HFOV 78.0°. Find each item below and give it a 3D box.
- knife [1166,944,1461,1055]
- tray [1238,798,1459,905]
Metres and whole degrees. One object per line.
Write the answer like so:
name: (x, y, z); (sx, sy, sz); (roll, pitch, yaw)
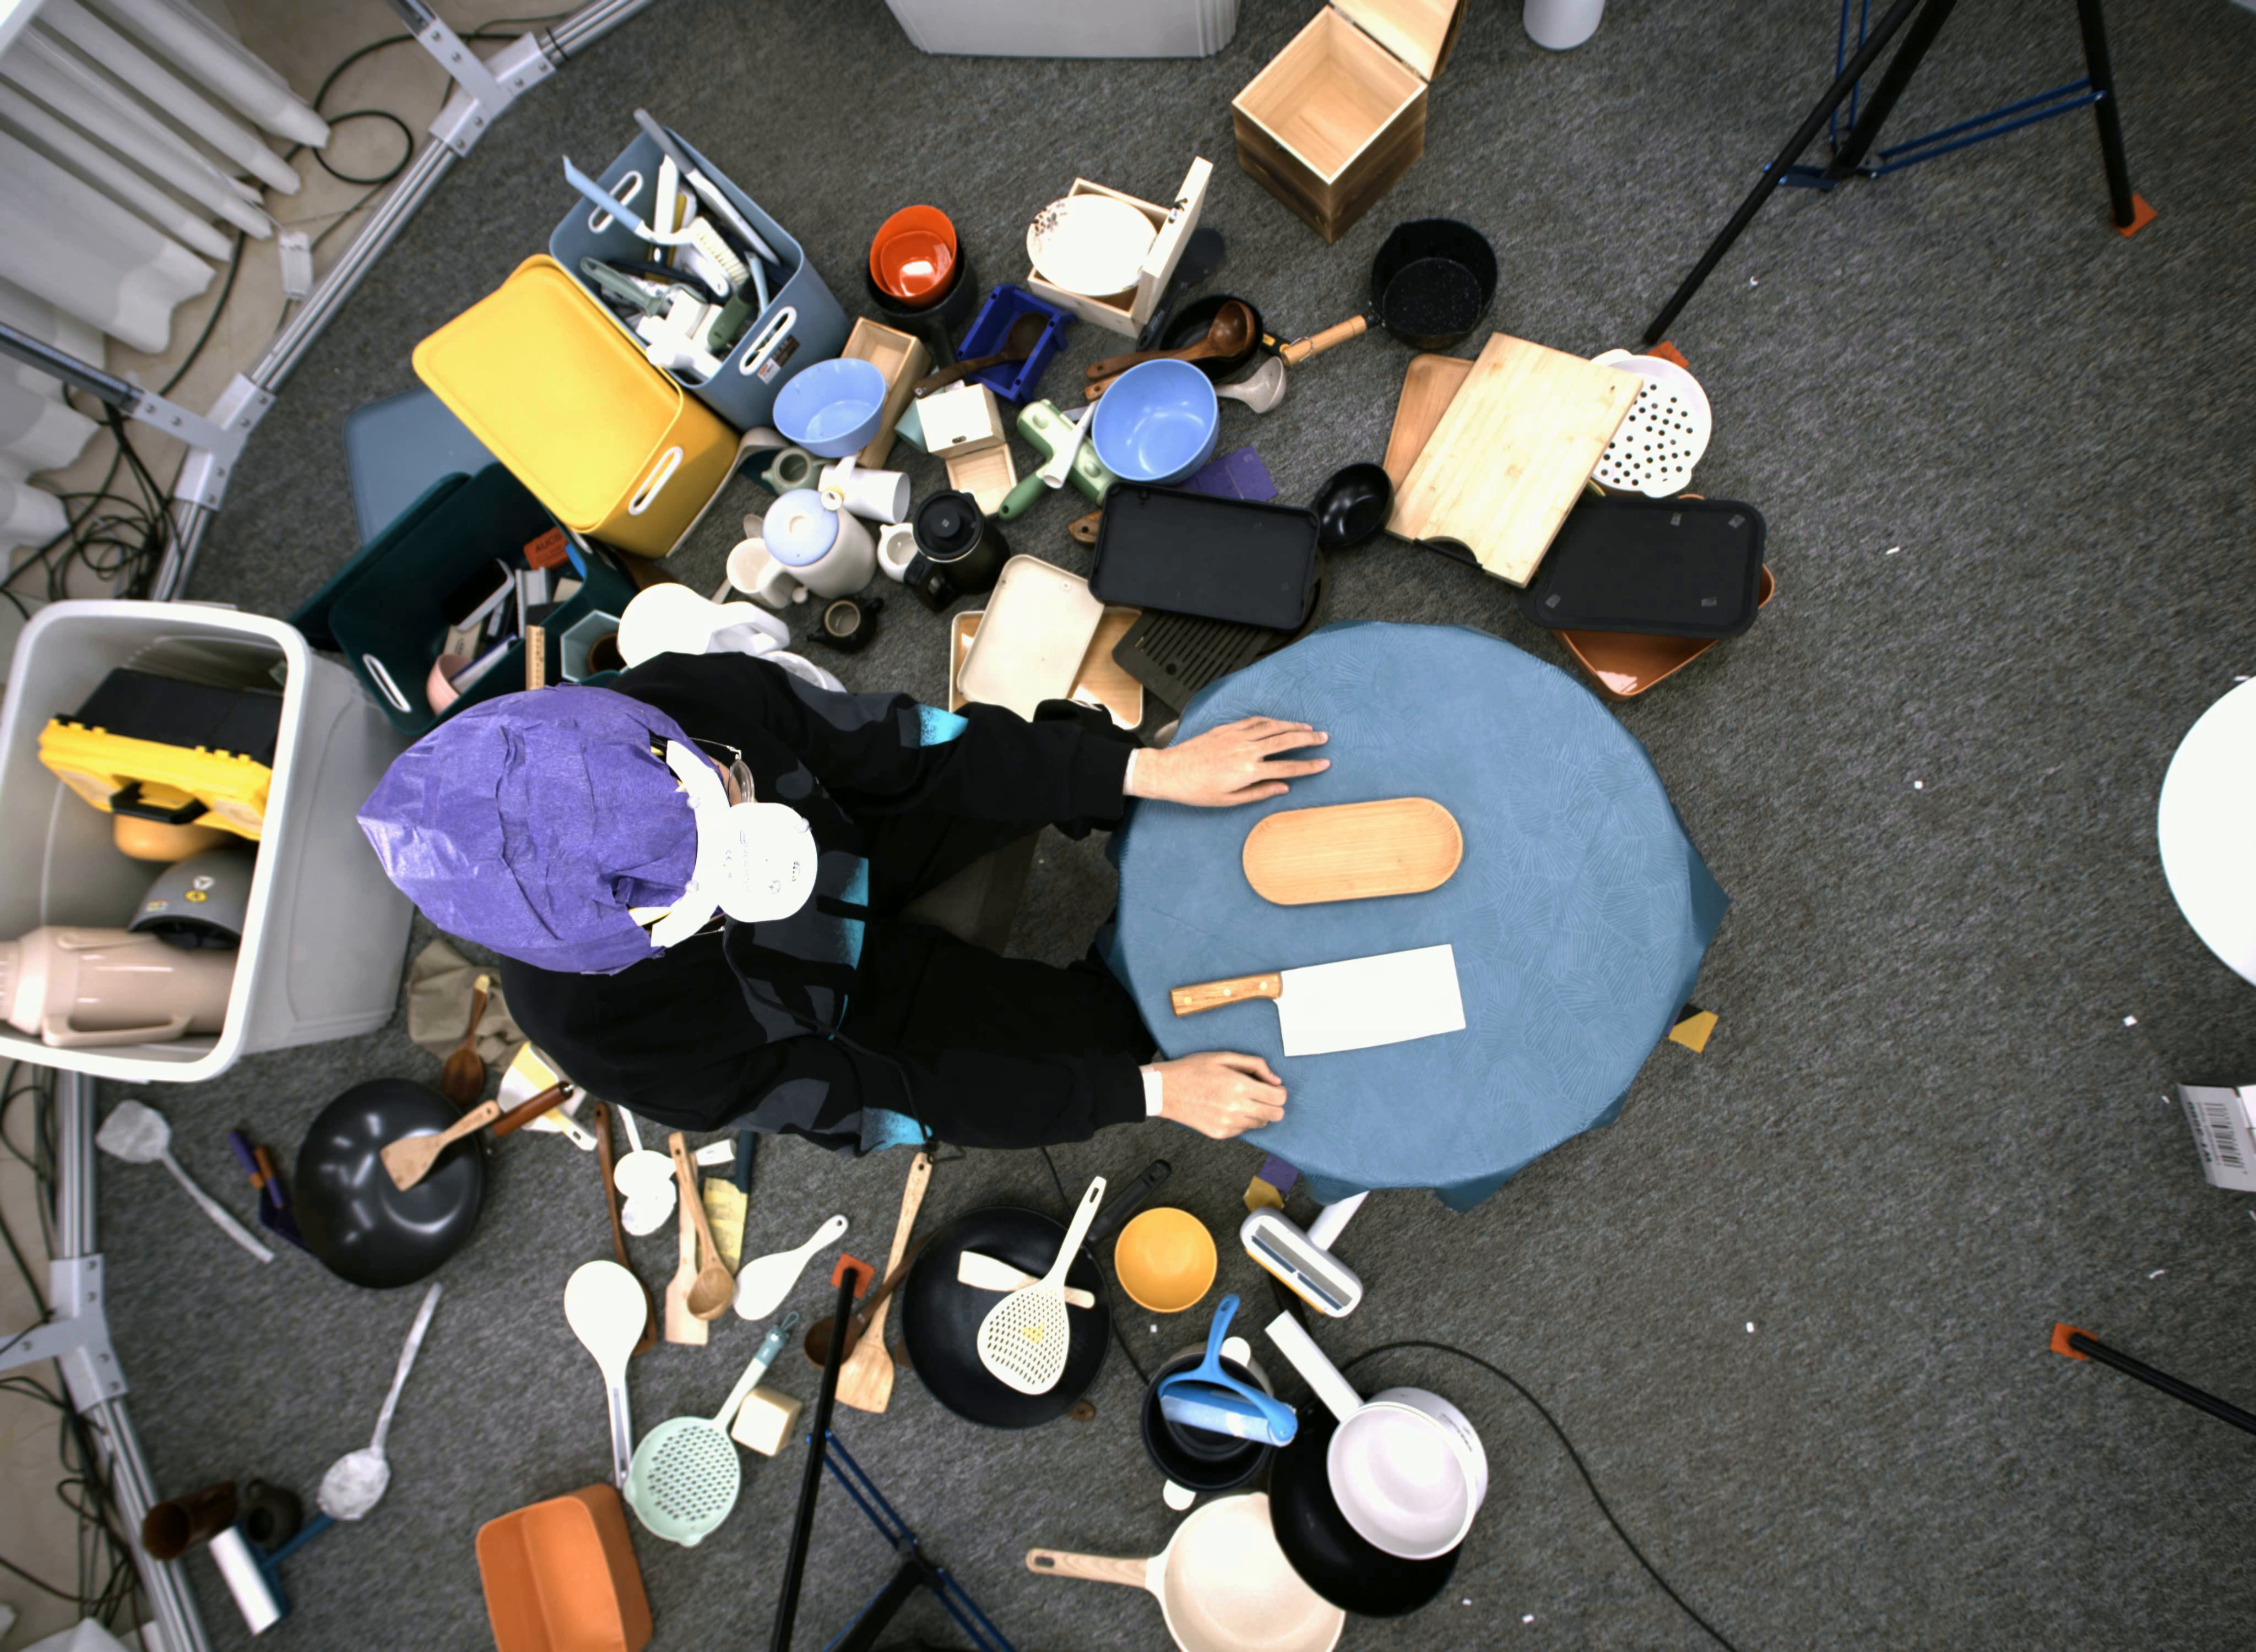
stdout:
knife: (0.195, 0.190, 1.459); (0.307, 0.021, 0.092); (-10, 87, 7)
tray: (0.232, 0.026, 1.461); (0.232, 0.020, 0.101); (-6, 85, 11)
